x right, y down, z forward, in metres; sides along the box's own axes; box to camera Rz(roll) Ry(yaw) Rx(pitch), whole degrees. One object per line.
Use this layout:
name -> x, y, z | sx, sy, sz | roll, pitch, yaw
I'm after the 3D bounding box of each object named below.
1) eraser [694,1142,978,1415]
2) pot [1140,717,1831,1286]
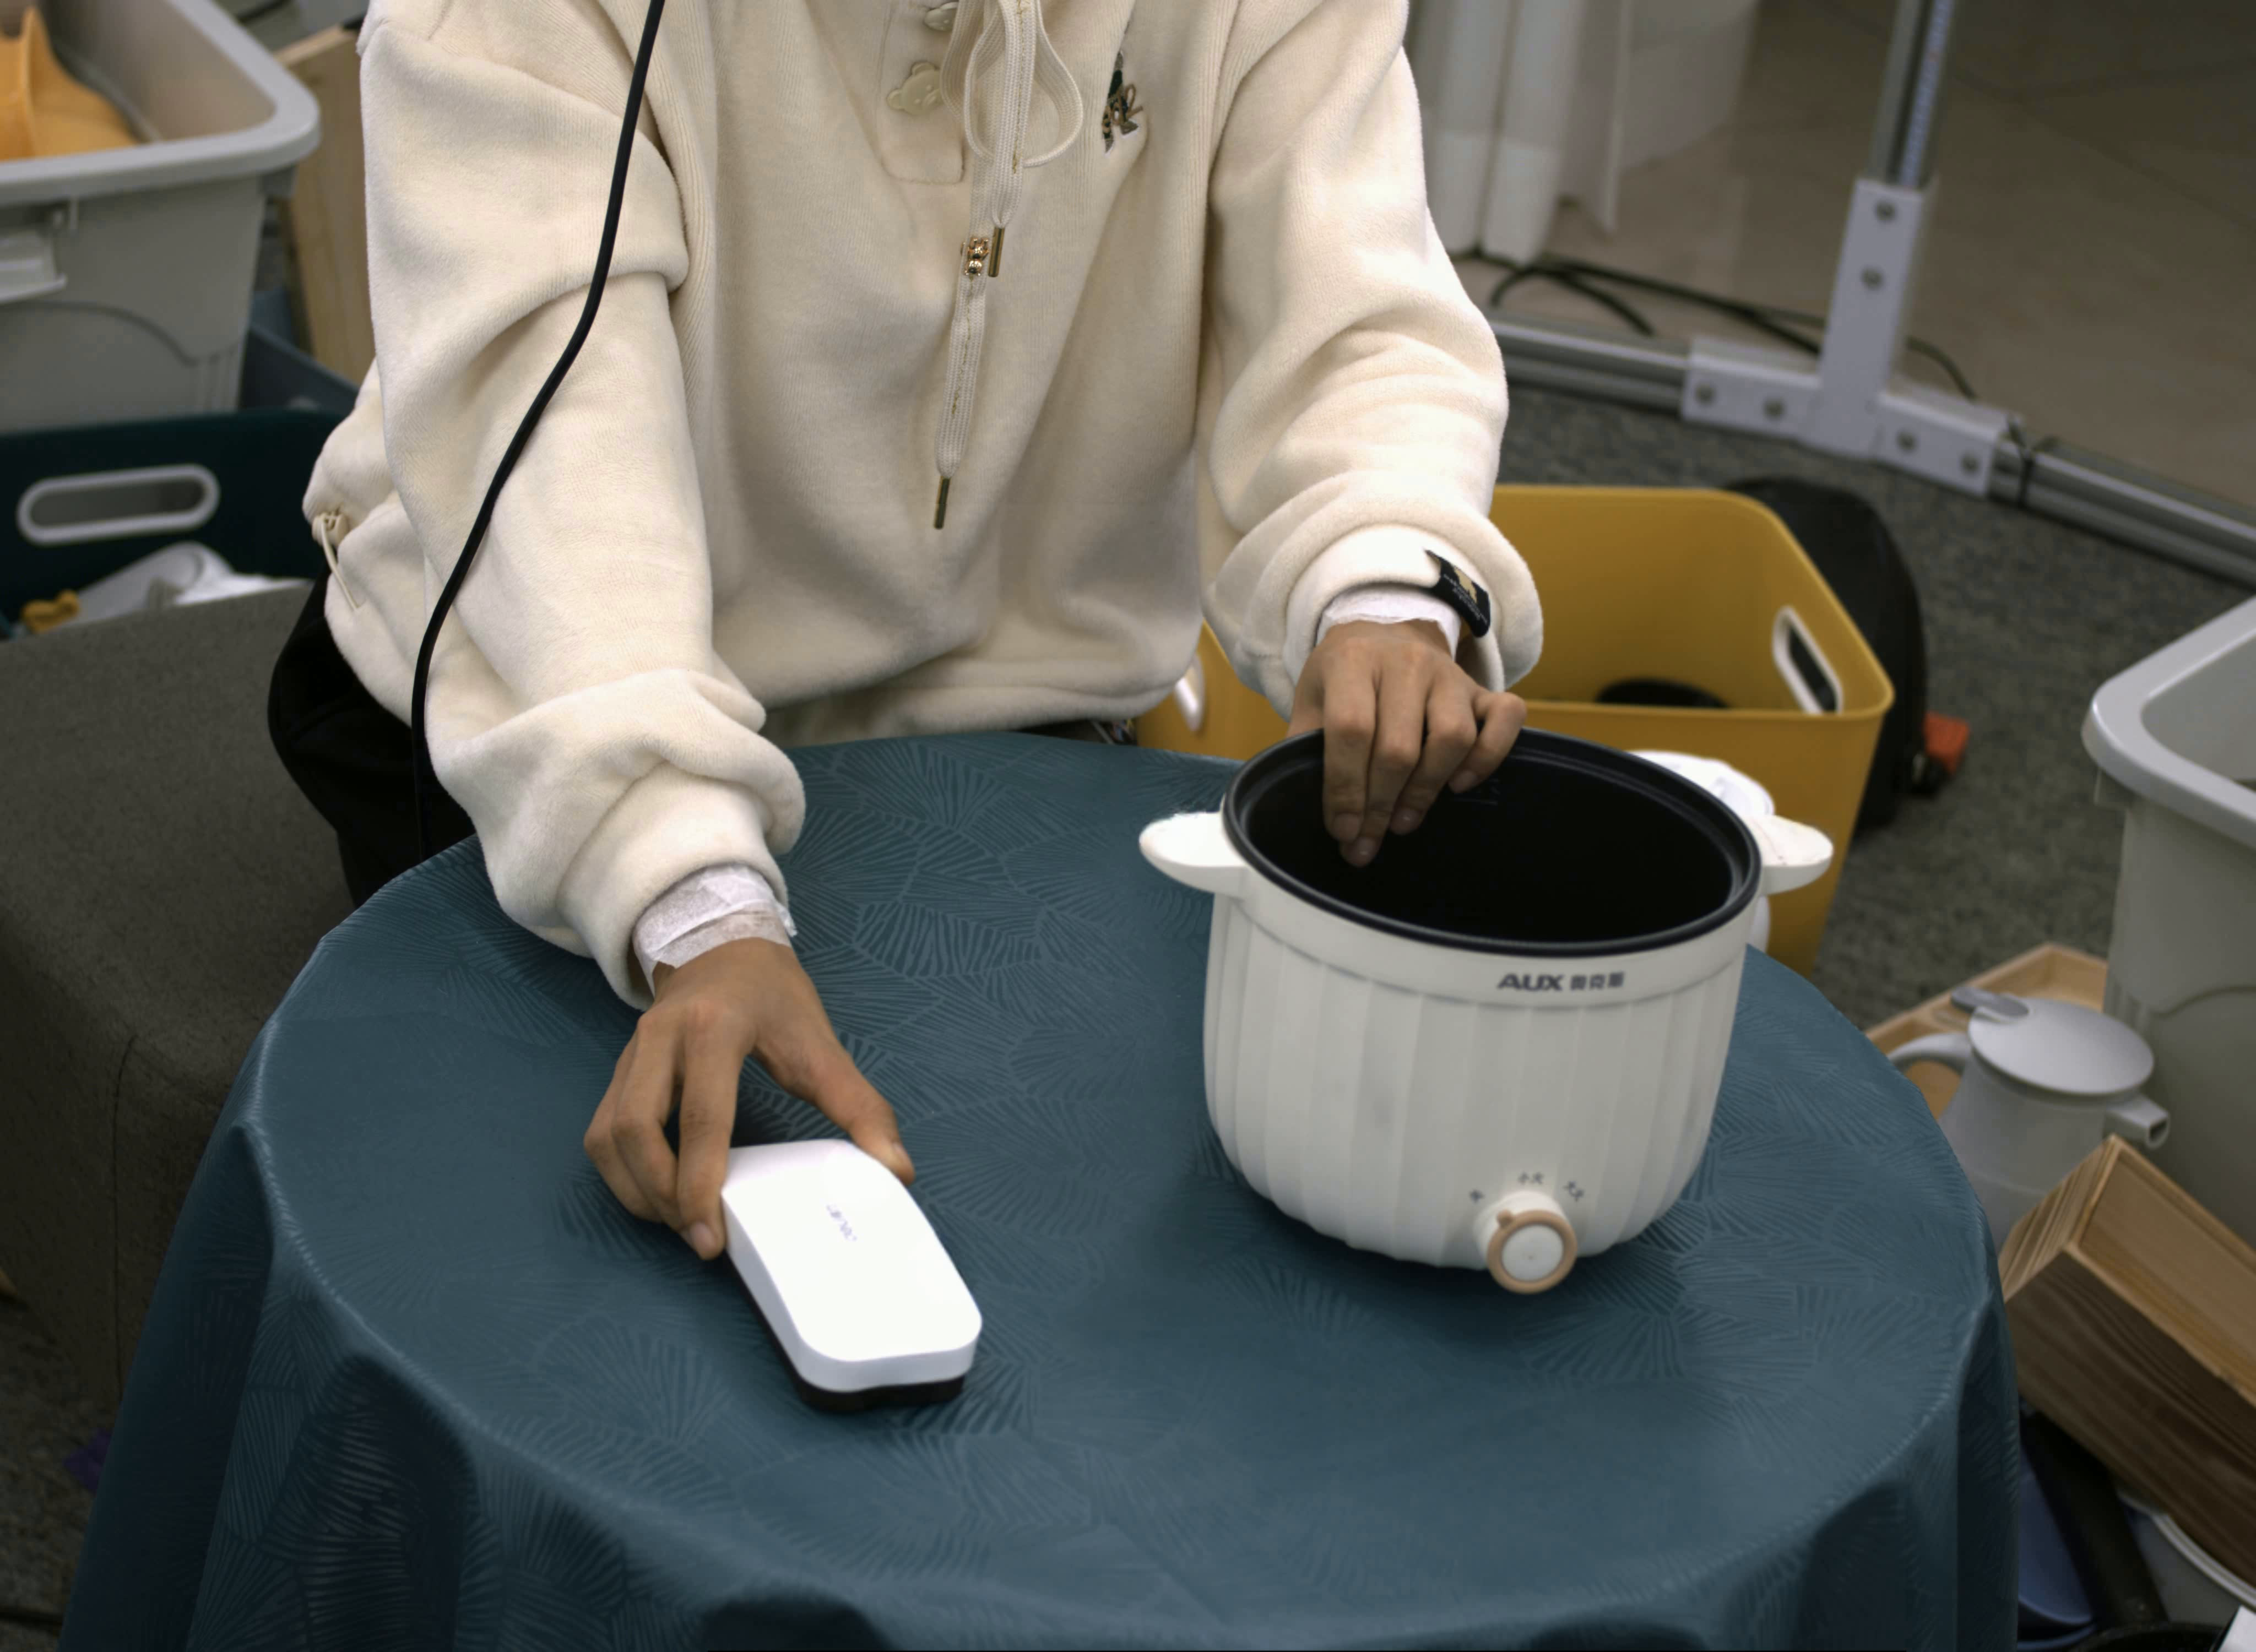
eraser -> -0.094, 0.142, 1.712 | 0.063, 0.034, 0.132 | -3, 28, -22
pot -> 0.117, 0.062, 1.791 | 0.239, 0.142, 0.192 | -1, 21, -13
